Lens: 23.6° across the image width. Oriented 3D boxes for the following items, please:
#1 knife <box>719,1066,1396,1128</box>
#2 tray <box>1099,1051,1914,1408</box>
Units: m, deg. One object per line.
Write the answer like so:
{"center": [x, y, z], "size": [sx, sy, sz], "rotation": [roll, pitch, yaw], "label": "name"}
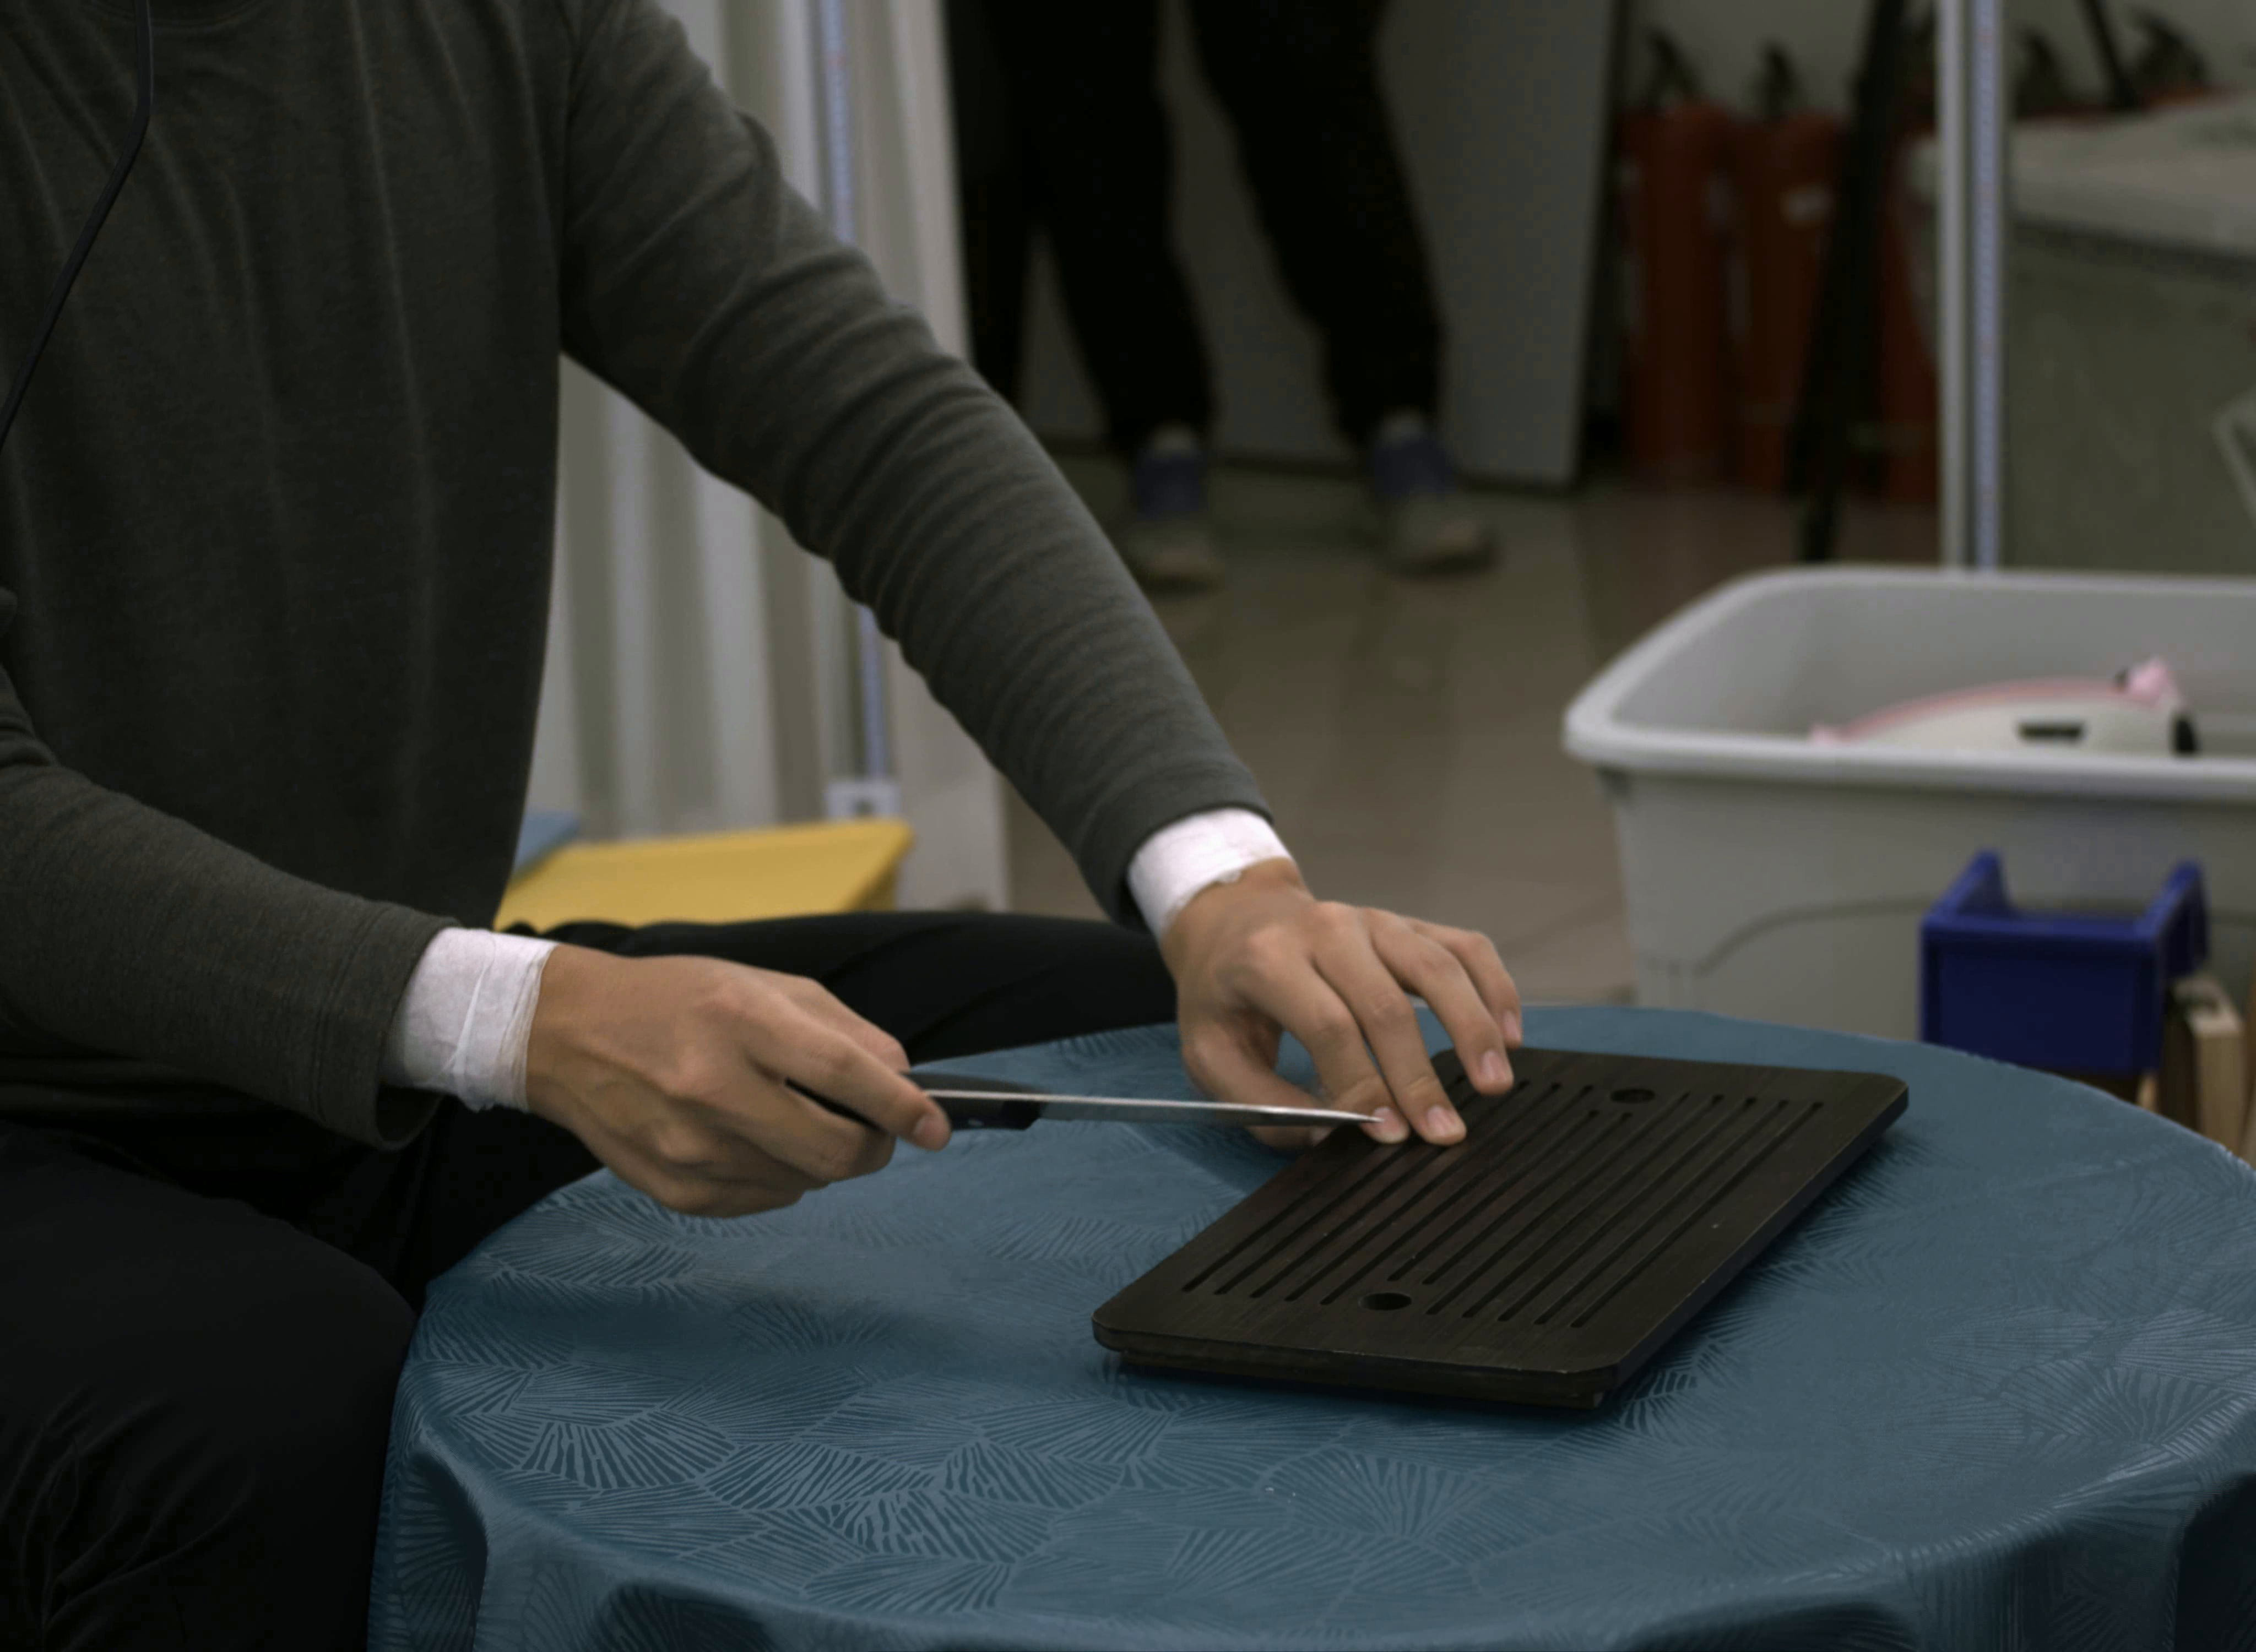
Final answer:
{"center": [-0.026, 0.084, 1.644], "size": [0.239, 0.016, 0.024], "rotation": [1, -19, 30], "label": "knife"}
{"center": [0.126, 0.124, 1.691], "size": [0.170, 0.019, 0.302], "rotation": [2, 14, 26], "label": "tray"}
